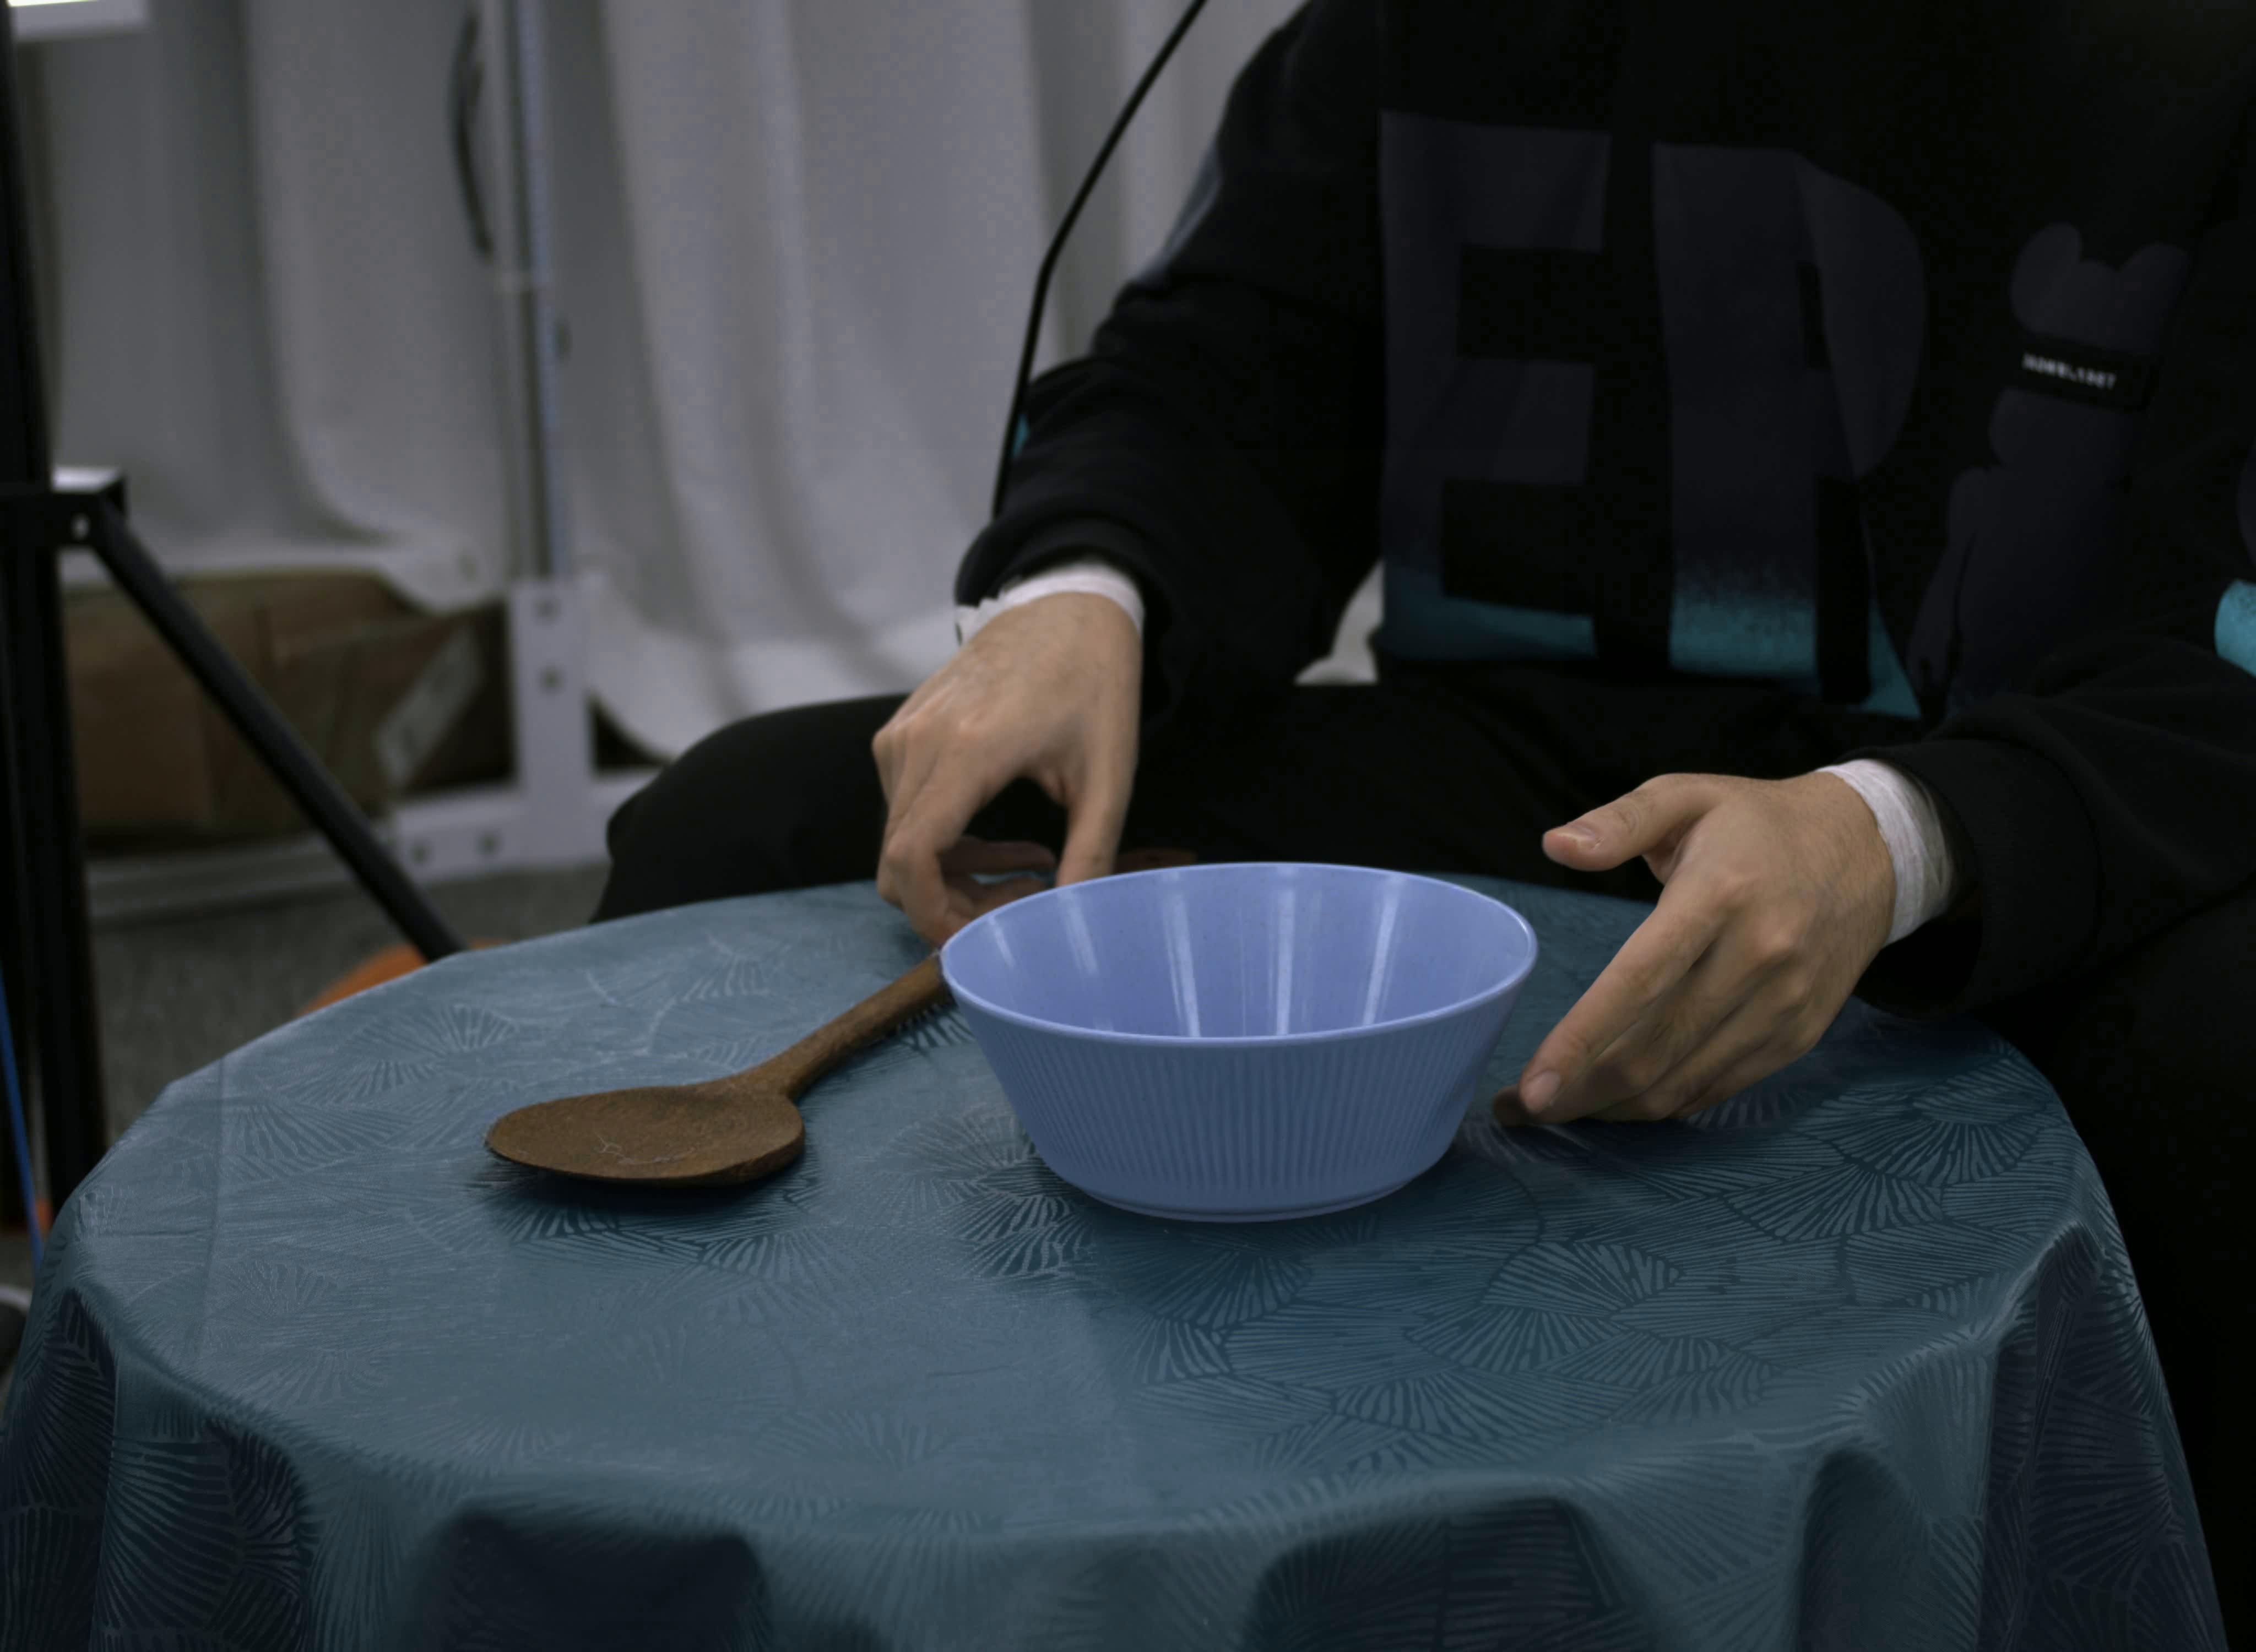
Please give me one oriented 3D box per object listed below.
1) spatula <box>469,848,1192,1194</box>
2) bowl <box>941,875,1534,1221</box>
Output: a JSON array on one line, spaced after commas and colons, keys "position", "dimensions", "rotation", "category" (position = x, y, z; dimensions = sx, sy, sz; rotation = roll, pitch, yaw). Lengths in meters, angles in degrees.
[{"position": [-0.074, 0.057, 1.725], "dimensions": [0.098, 0.016, 0.379], "rotation": [7, 18, 28], "category": "spatula"}, {"position": [0.033, 0.068, 1.569], "dimensions": [0.175, 0.070, 0.177], "rotation": [-2, 15, -1], "category": "bowl"}]
